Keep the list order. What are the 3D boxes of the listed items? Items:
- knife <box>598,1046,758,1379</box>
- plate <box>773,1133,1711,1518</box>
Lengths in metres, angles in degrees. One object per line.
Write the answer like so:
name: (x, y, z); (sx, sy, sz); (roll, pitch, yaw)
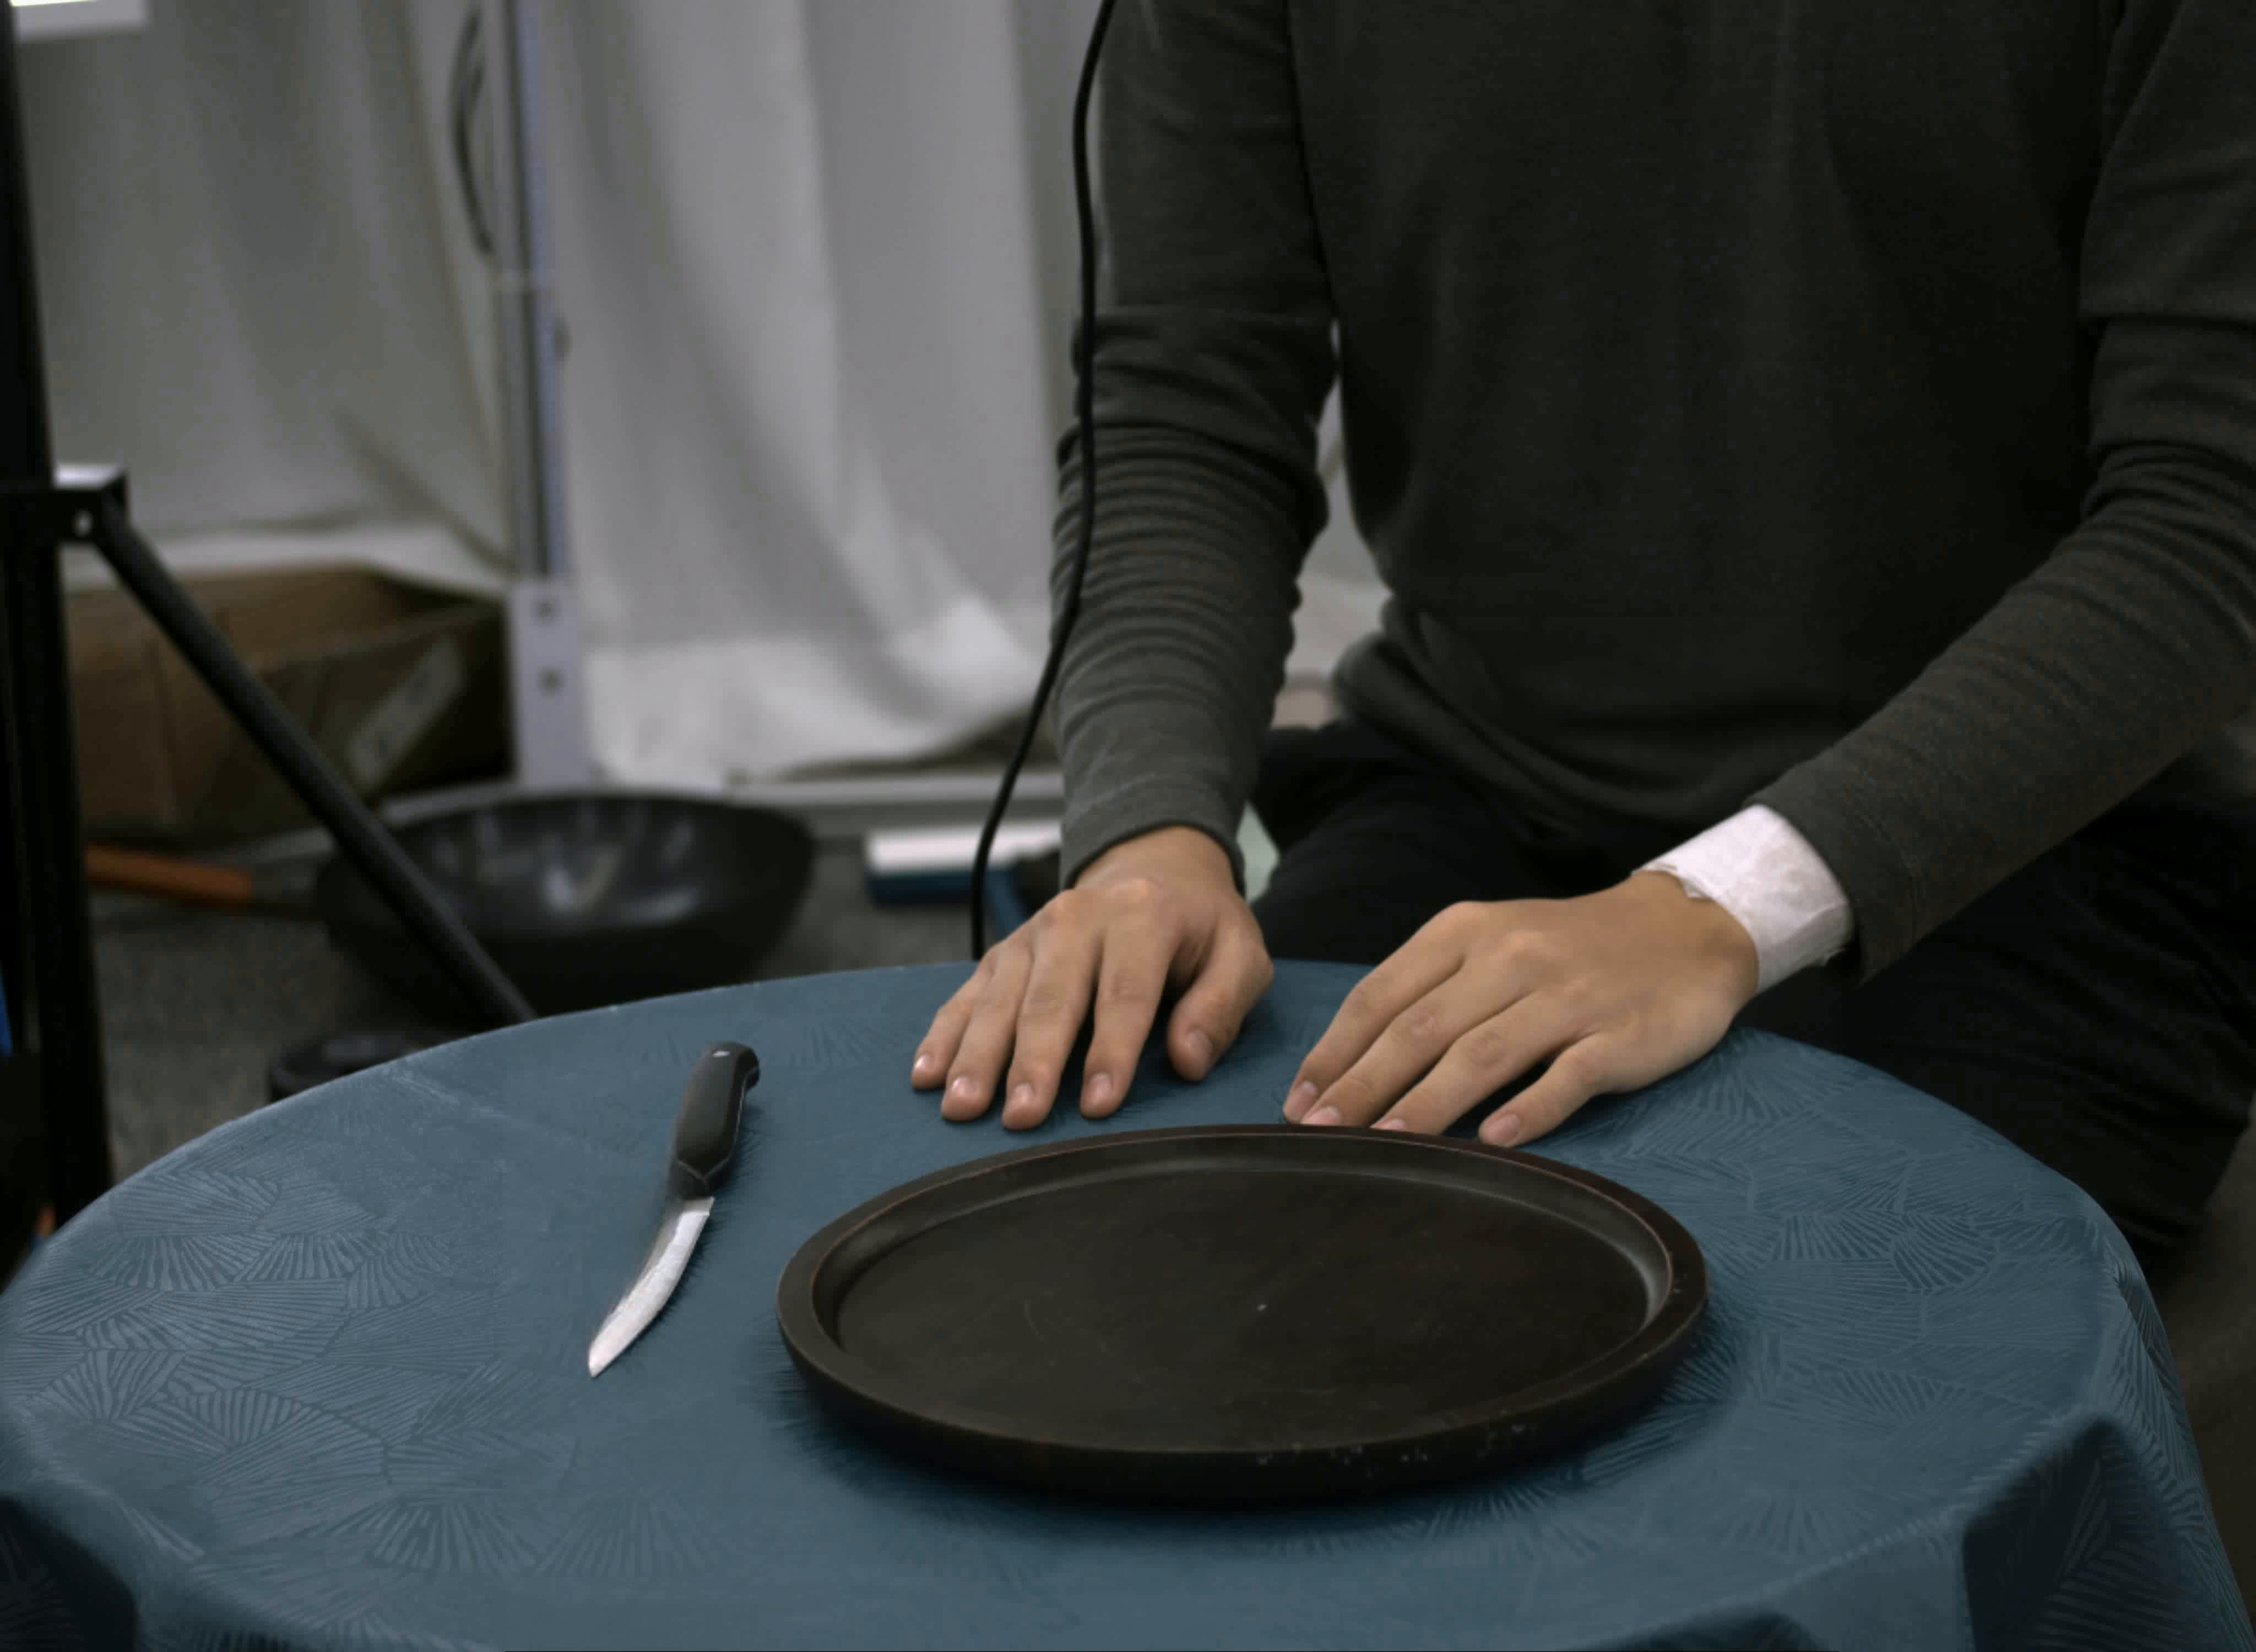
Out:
knife: (-0.133, 0.112, 1.549); (0.024, 0.016, 0.238); (-4, 18, 5)
plate: (0.031, 0.131, 1.433); (0.253, 0.029, 0.256); (-3, 17, -1)
